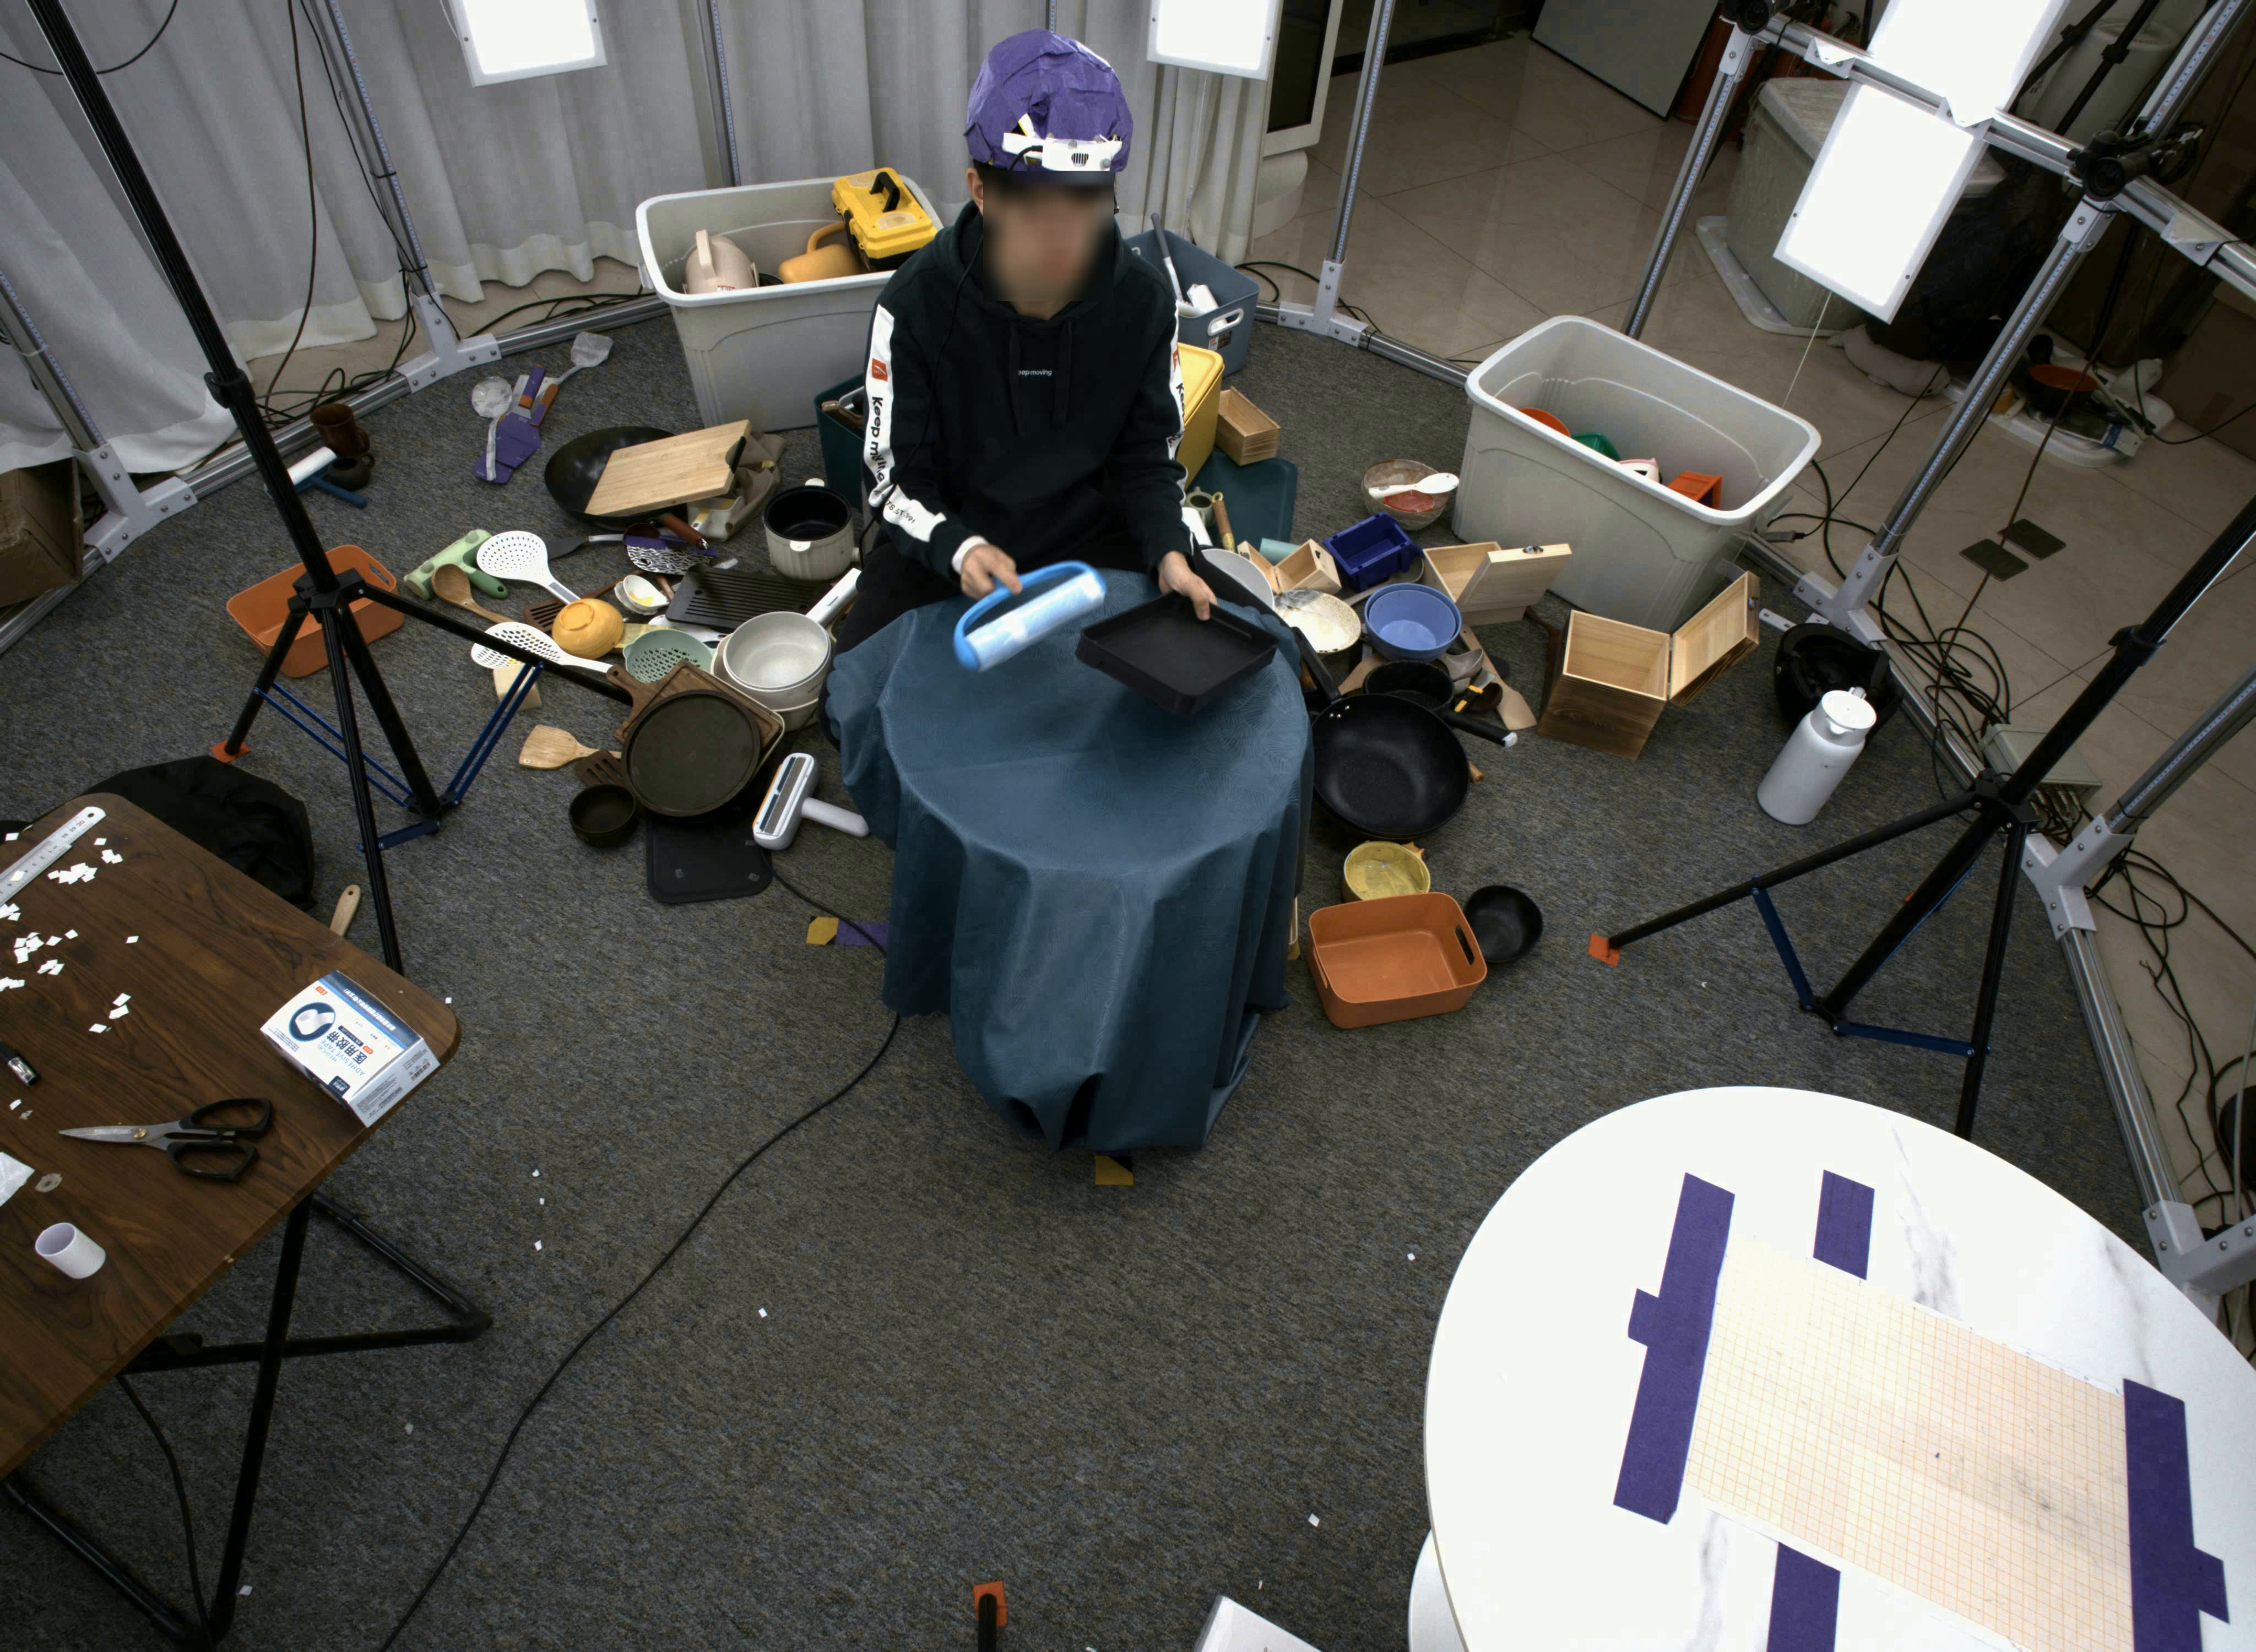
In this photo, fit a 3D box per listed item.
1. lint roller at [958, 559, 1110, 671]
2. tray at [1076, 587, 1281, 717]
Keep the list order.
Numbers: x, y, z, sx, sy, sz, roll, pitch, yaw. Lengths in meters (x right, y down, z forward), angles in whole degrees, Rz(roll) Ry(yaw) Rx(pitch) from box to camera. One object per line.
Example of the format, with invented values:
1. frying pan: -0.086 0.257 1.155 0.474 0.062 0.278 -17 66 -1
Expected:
1. lint roller: -0.157 -0.311 1.763 0.230 0.066 0.184 -35 50 -17
2. tray: 0.075 -0.245 1.760 0.186 0.036 0.321 28 32 16
